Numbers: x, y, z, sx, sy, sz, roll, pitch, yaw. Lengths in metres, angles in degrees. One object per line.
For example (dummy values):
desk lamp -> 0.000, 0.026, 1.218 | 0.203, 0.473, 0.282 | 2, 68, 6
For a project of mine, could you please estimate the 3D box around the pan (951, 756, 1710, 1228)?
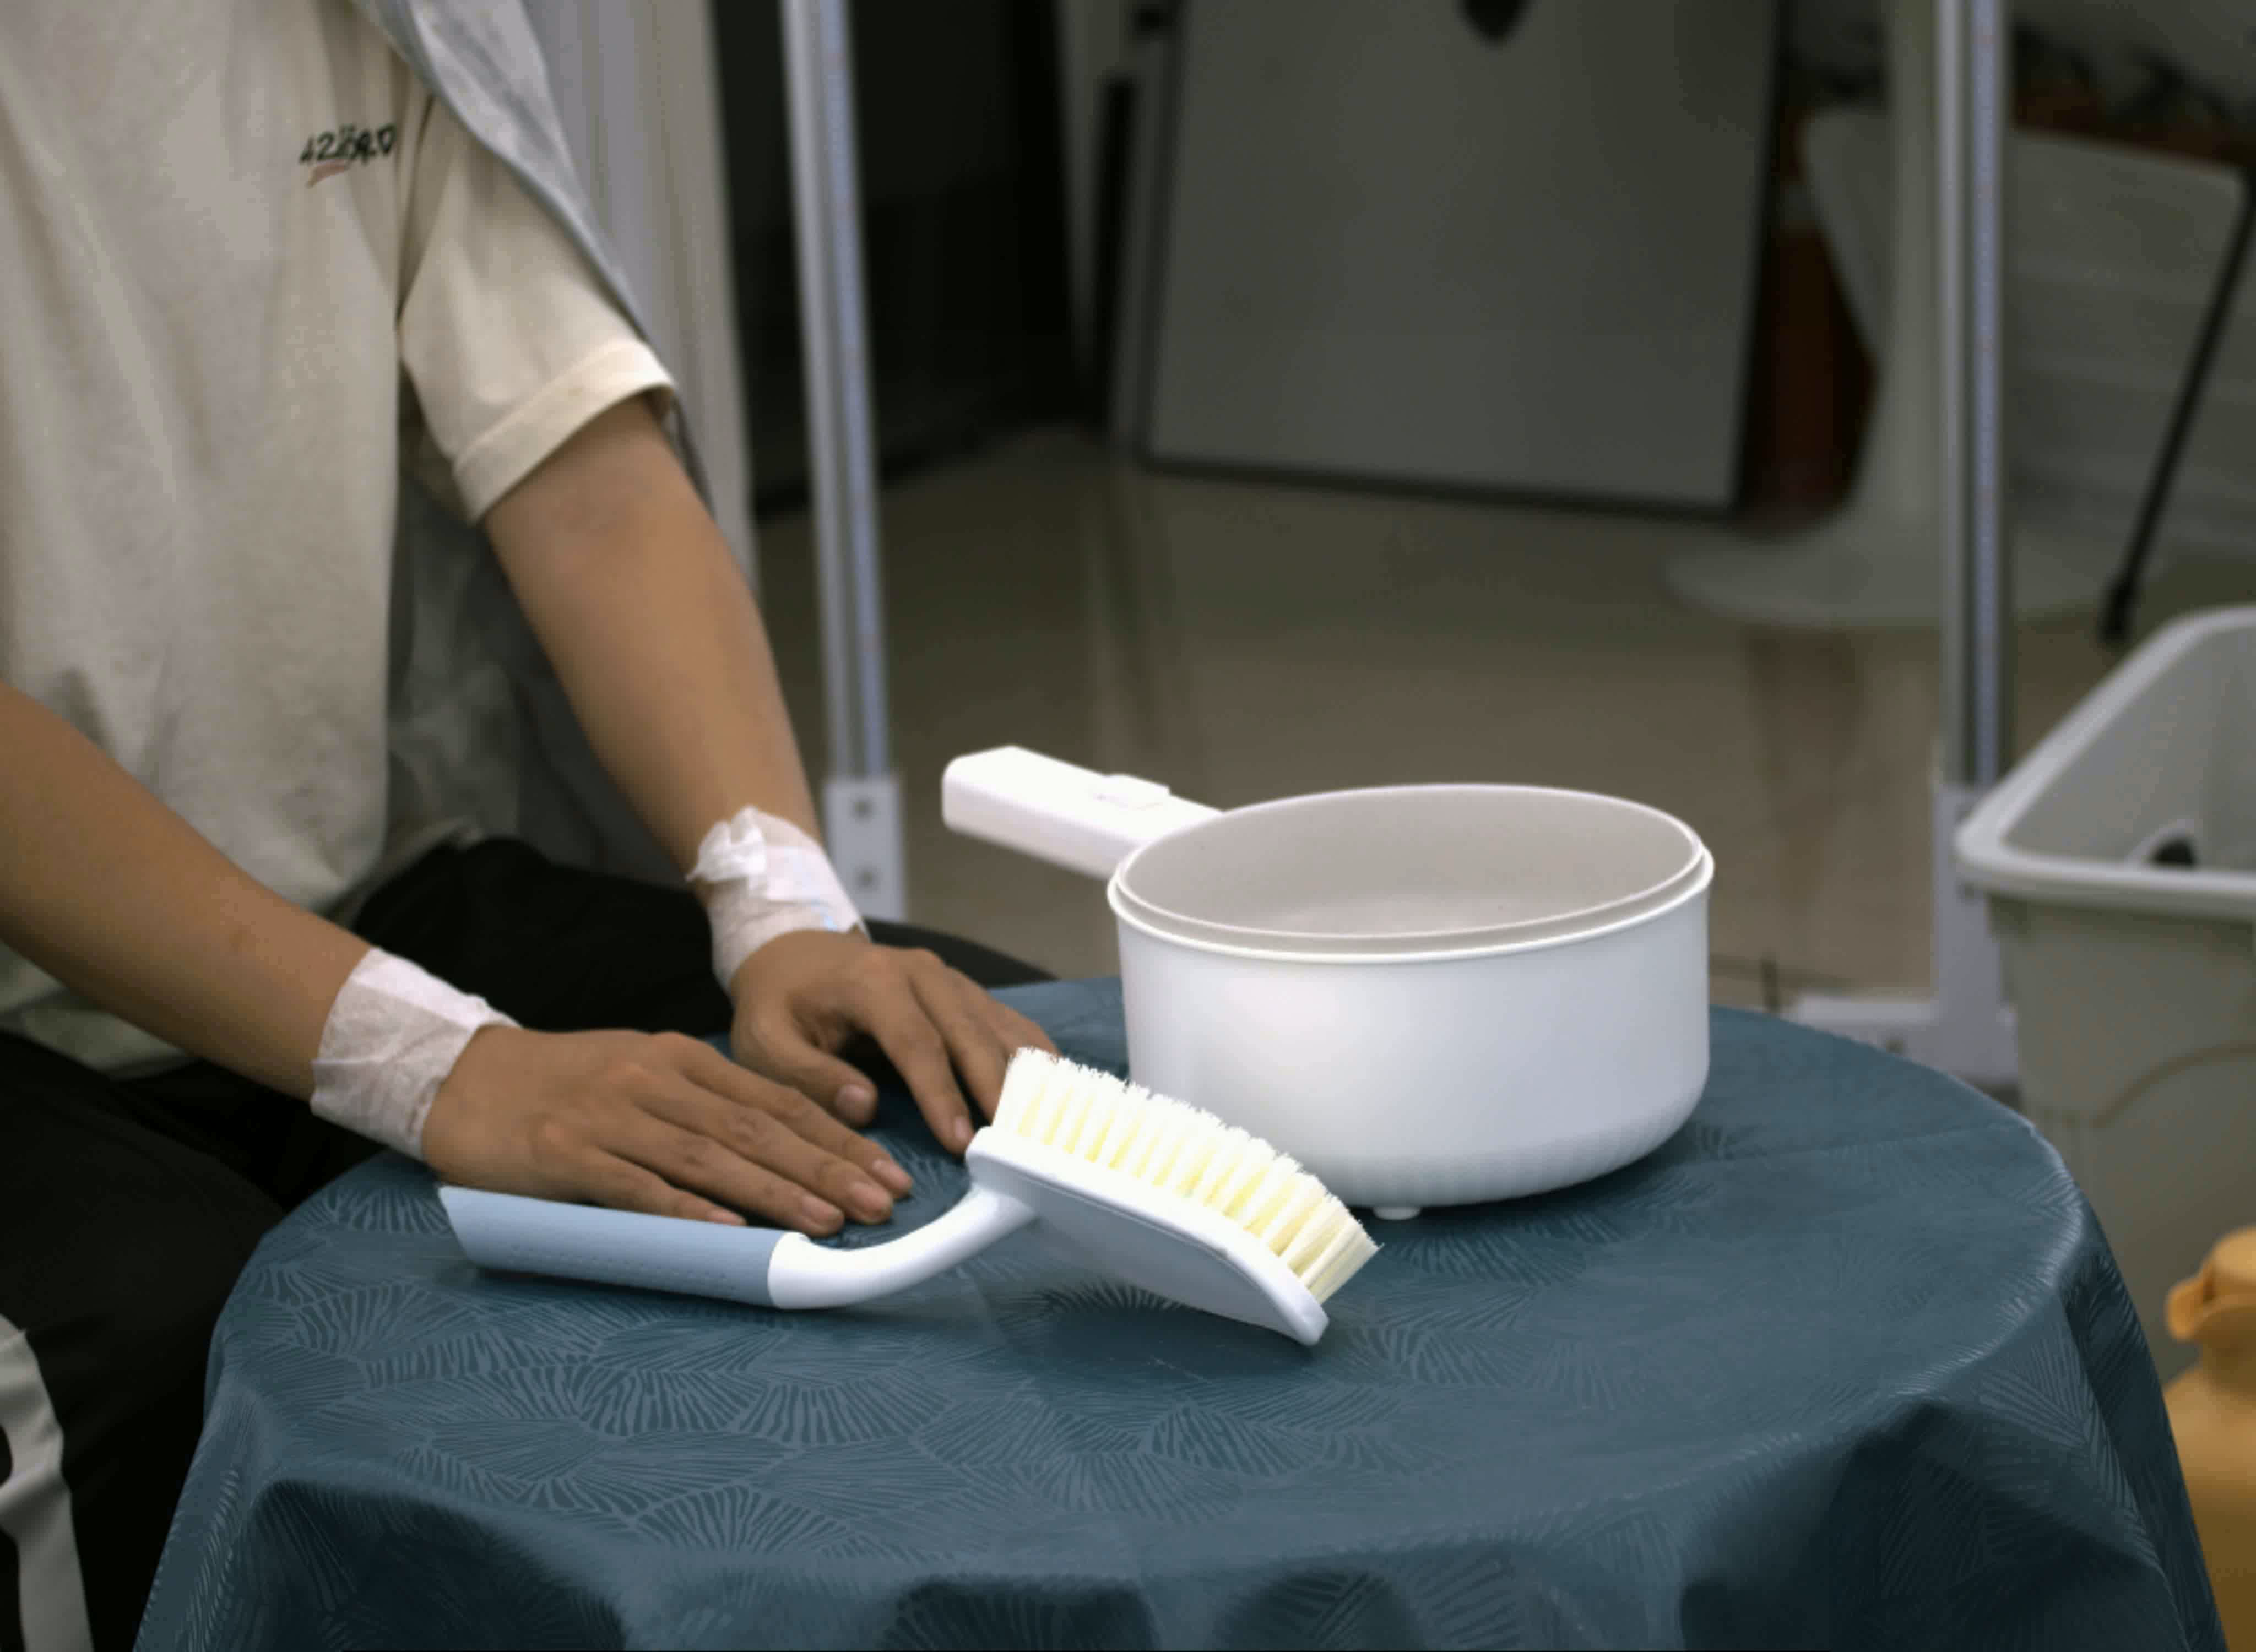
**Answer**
pan -> 0.051, 0.049, 1.850 | 0.197, 0.103, 0.358 | -14, 16, -33

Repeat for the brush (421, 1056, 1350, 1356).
brush -> -0.077, 0.108, 1.684 | 0.326, 0.084, 0.083 | 4, 20, 29
